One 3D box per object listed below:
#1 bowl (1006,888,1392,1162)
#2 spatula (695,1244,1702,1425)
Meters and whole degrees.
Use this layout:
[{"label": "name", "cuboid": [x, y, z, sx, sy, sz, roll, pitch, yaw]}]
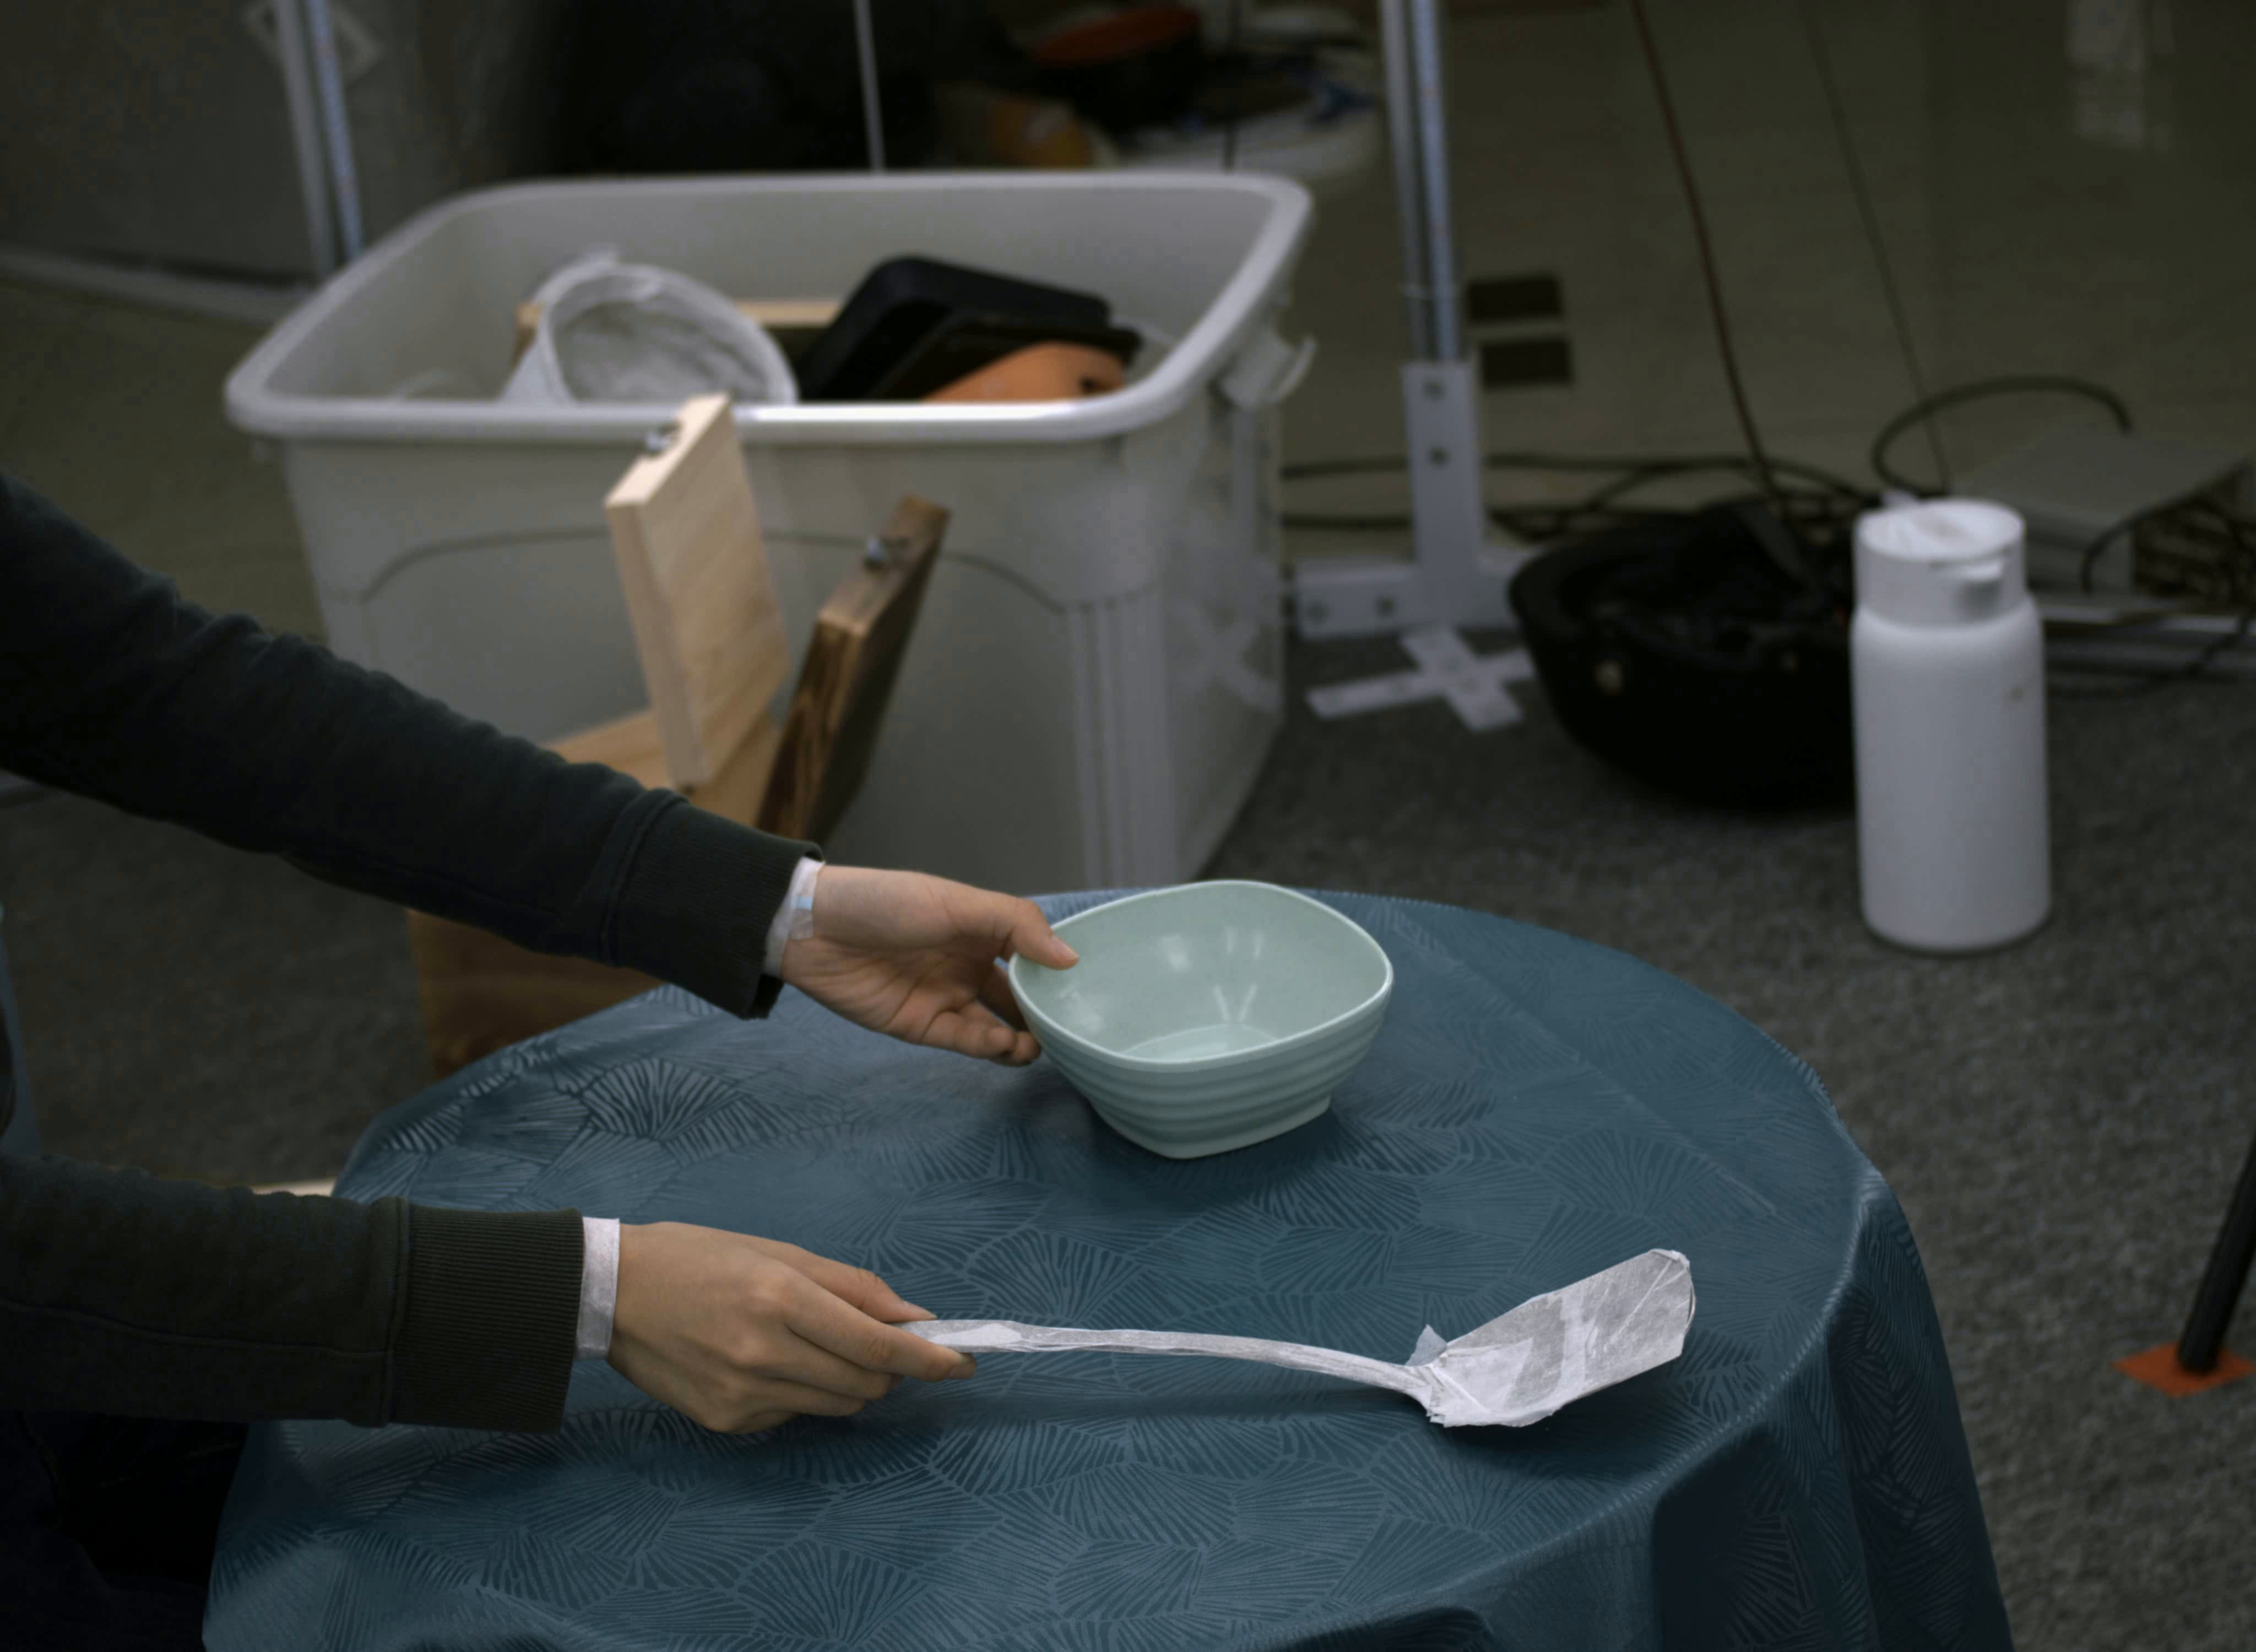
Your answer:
[{"label": "bowl", "cuboid": [0.027, 0.082, 2.196, 0.151, 0.059, 0.149, 0, 27, 0]}, {"label": "spatula", "cuboid": [0.019, 0.178, 2.004, 0.364, 0.045, 0.097, 2, 24, 10]}]
